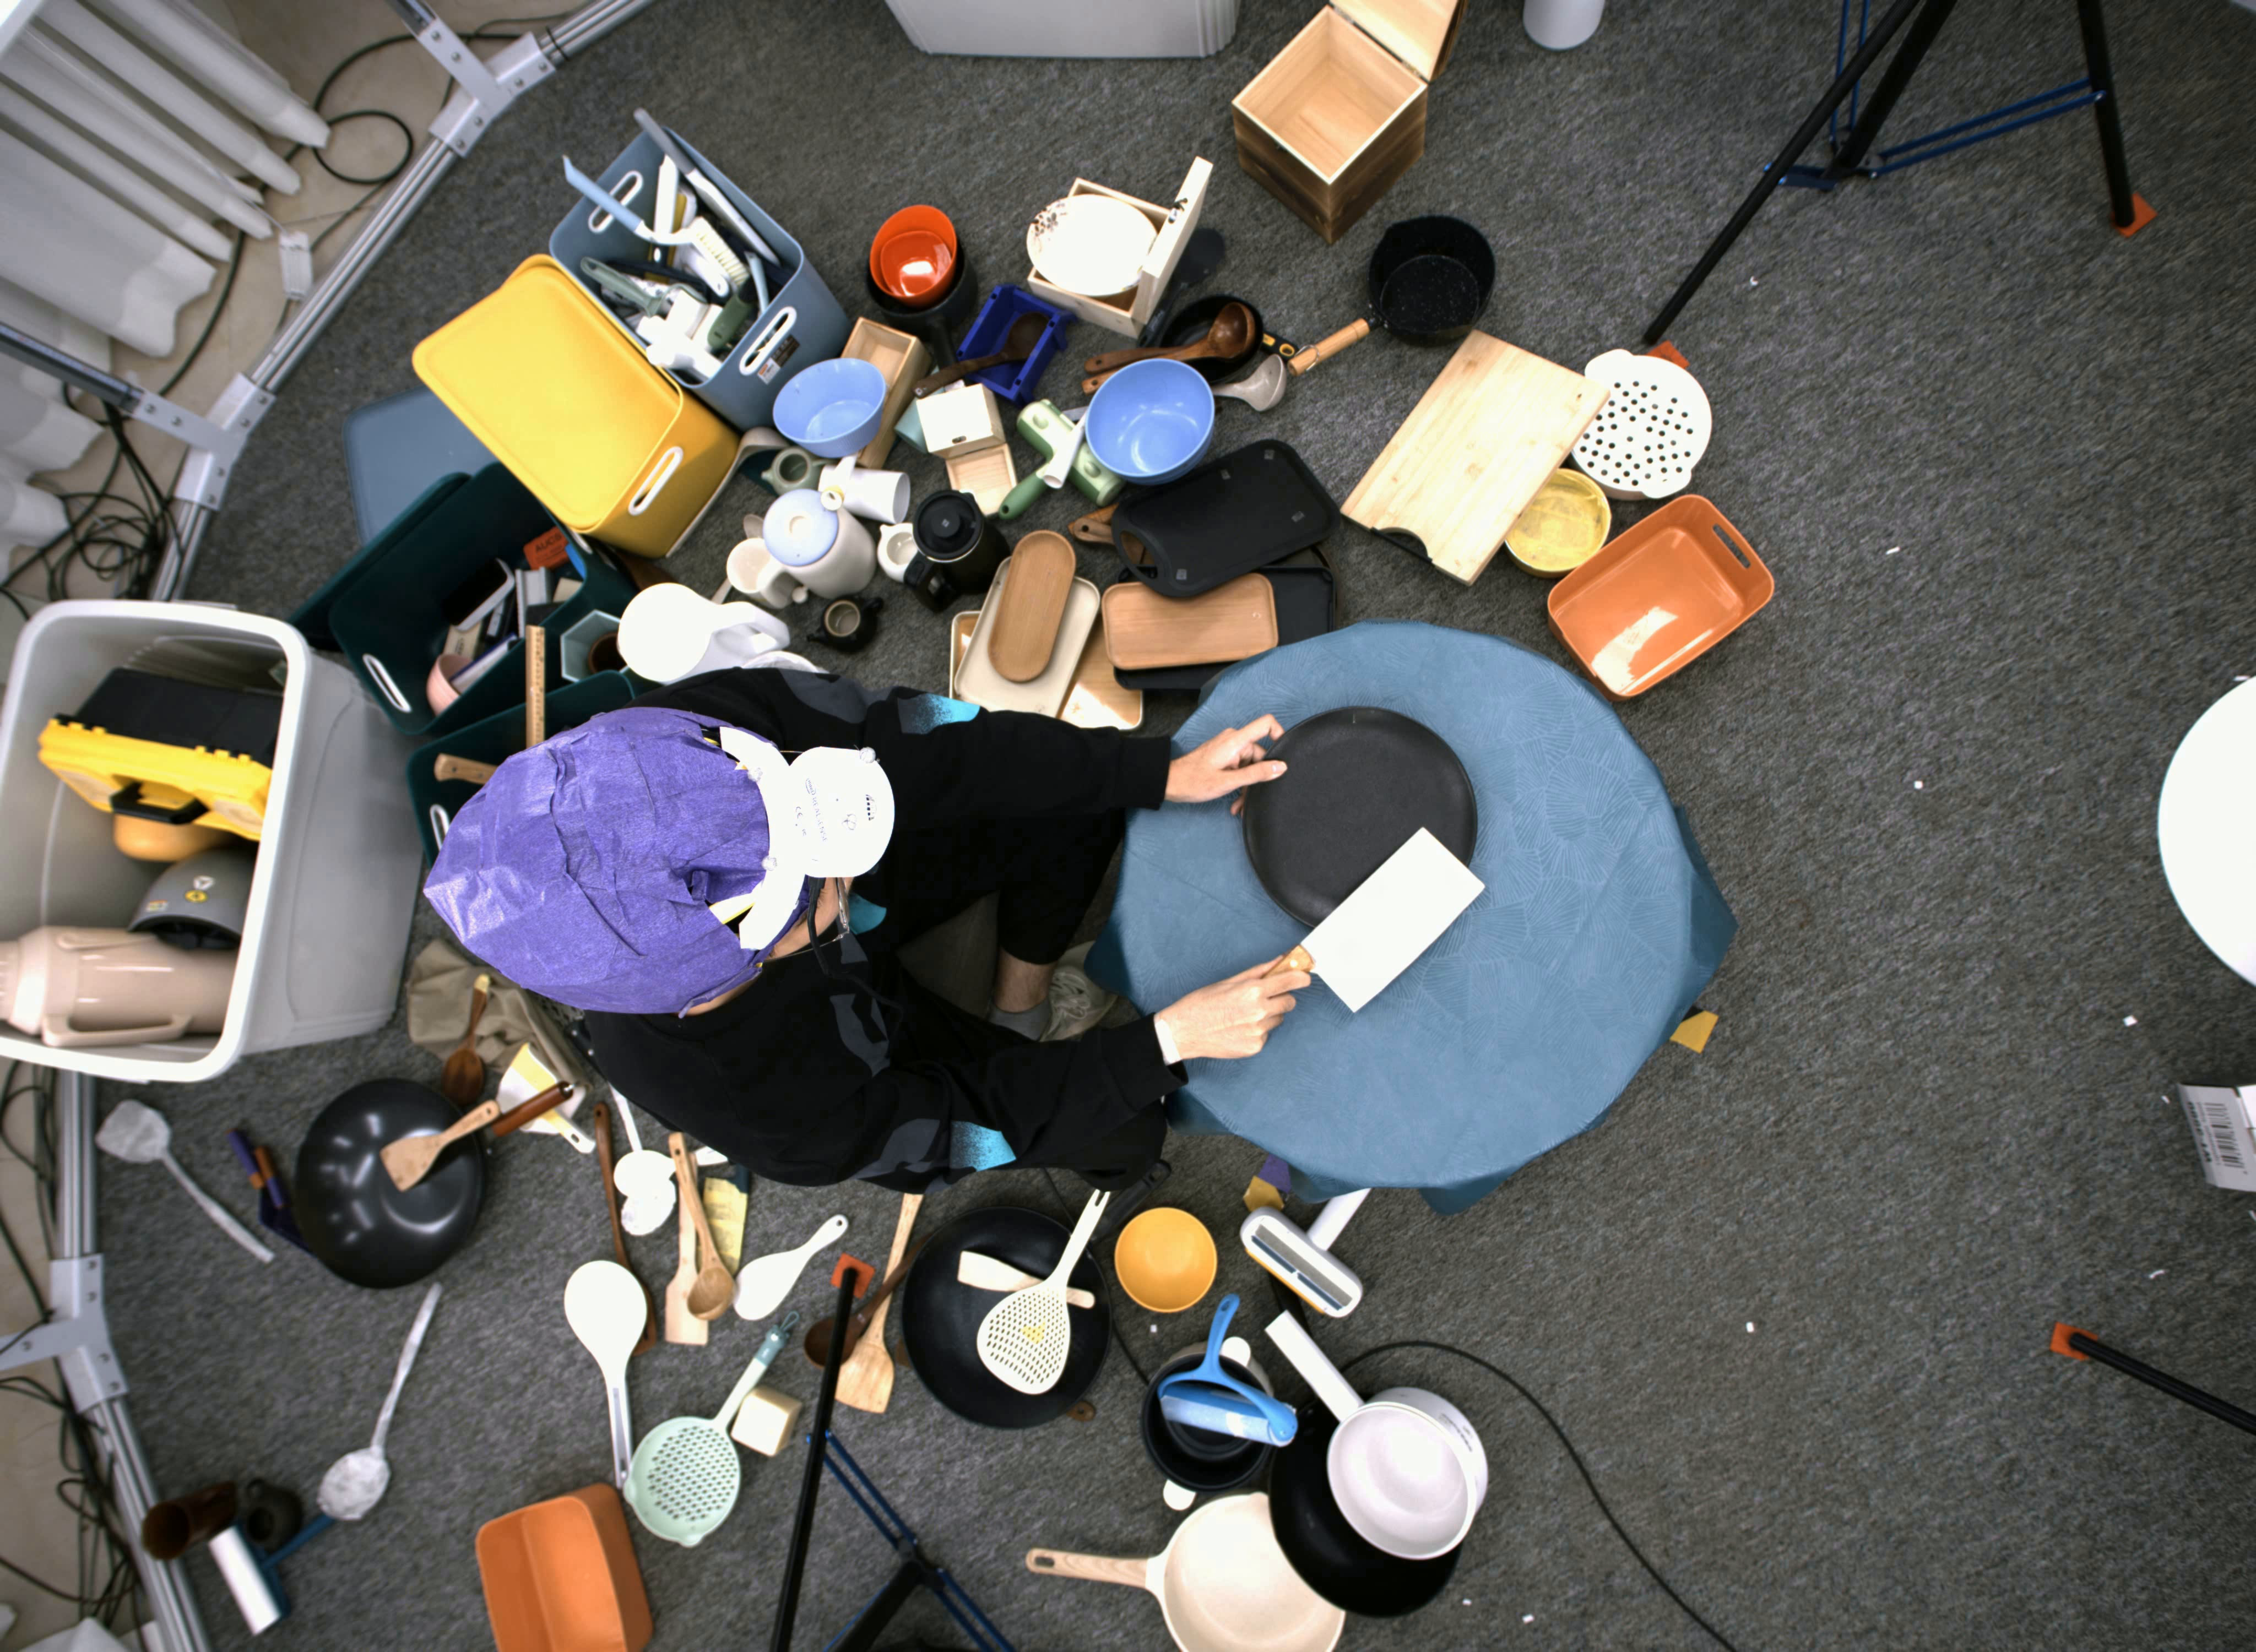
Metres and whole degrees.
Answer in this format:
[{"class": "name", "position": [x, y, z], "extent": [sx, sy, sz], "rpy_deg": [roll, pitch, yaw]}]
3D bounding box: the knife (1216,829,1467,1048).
[{"class": "knife", "position": [0.226, 0.130, 1.420], "extent": [0.305, 0.021, 0.092], "rpy_deg": [-43, 77, -4]}]

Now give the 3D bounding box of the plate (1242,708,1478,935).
[{"class": "plate", "position": [0.242, -0.003, 1.445], "extent": [0.245, 0.023, 0.245], "rpy_deg": [0, 94, 7]}]
